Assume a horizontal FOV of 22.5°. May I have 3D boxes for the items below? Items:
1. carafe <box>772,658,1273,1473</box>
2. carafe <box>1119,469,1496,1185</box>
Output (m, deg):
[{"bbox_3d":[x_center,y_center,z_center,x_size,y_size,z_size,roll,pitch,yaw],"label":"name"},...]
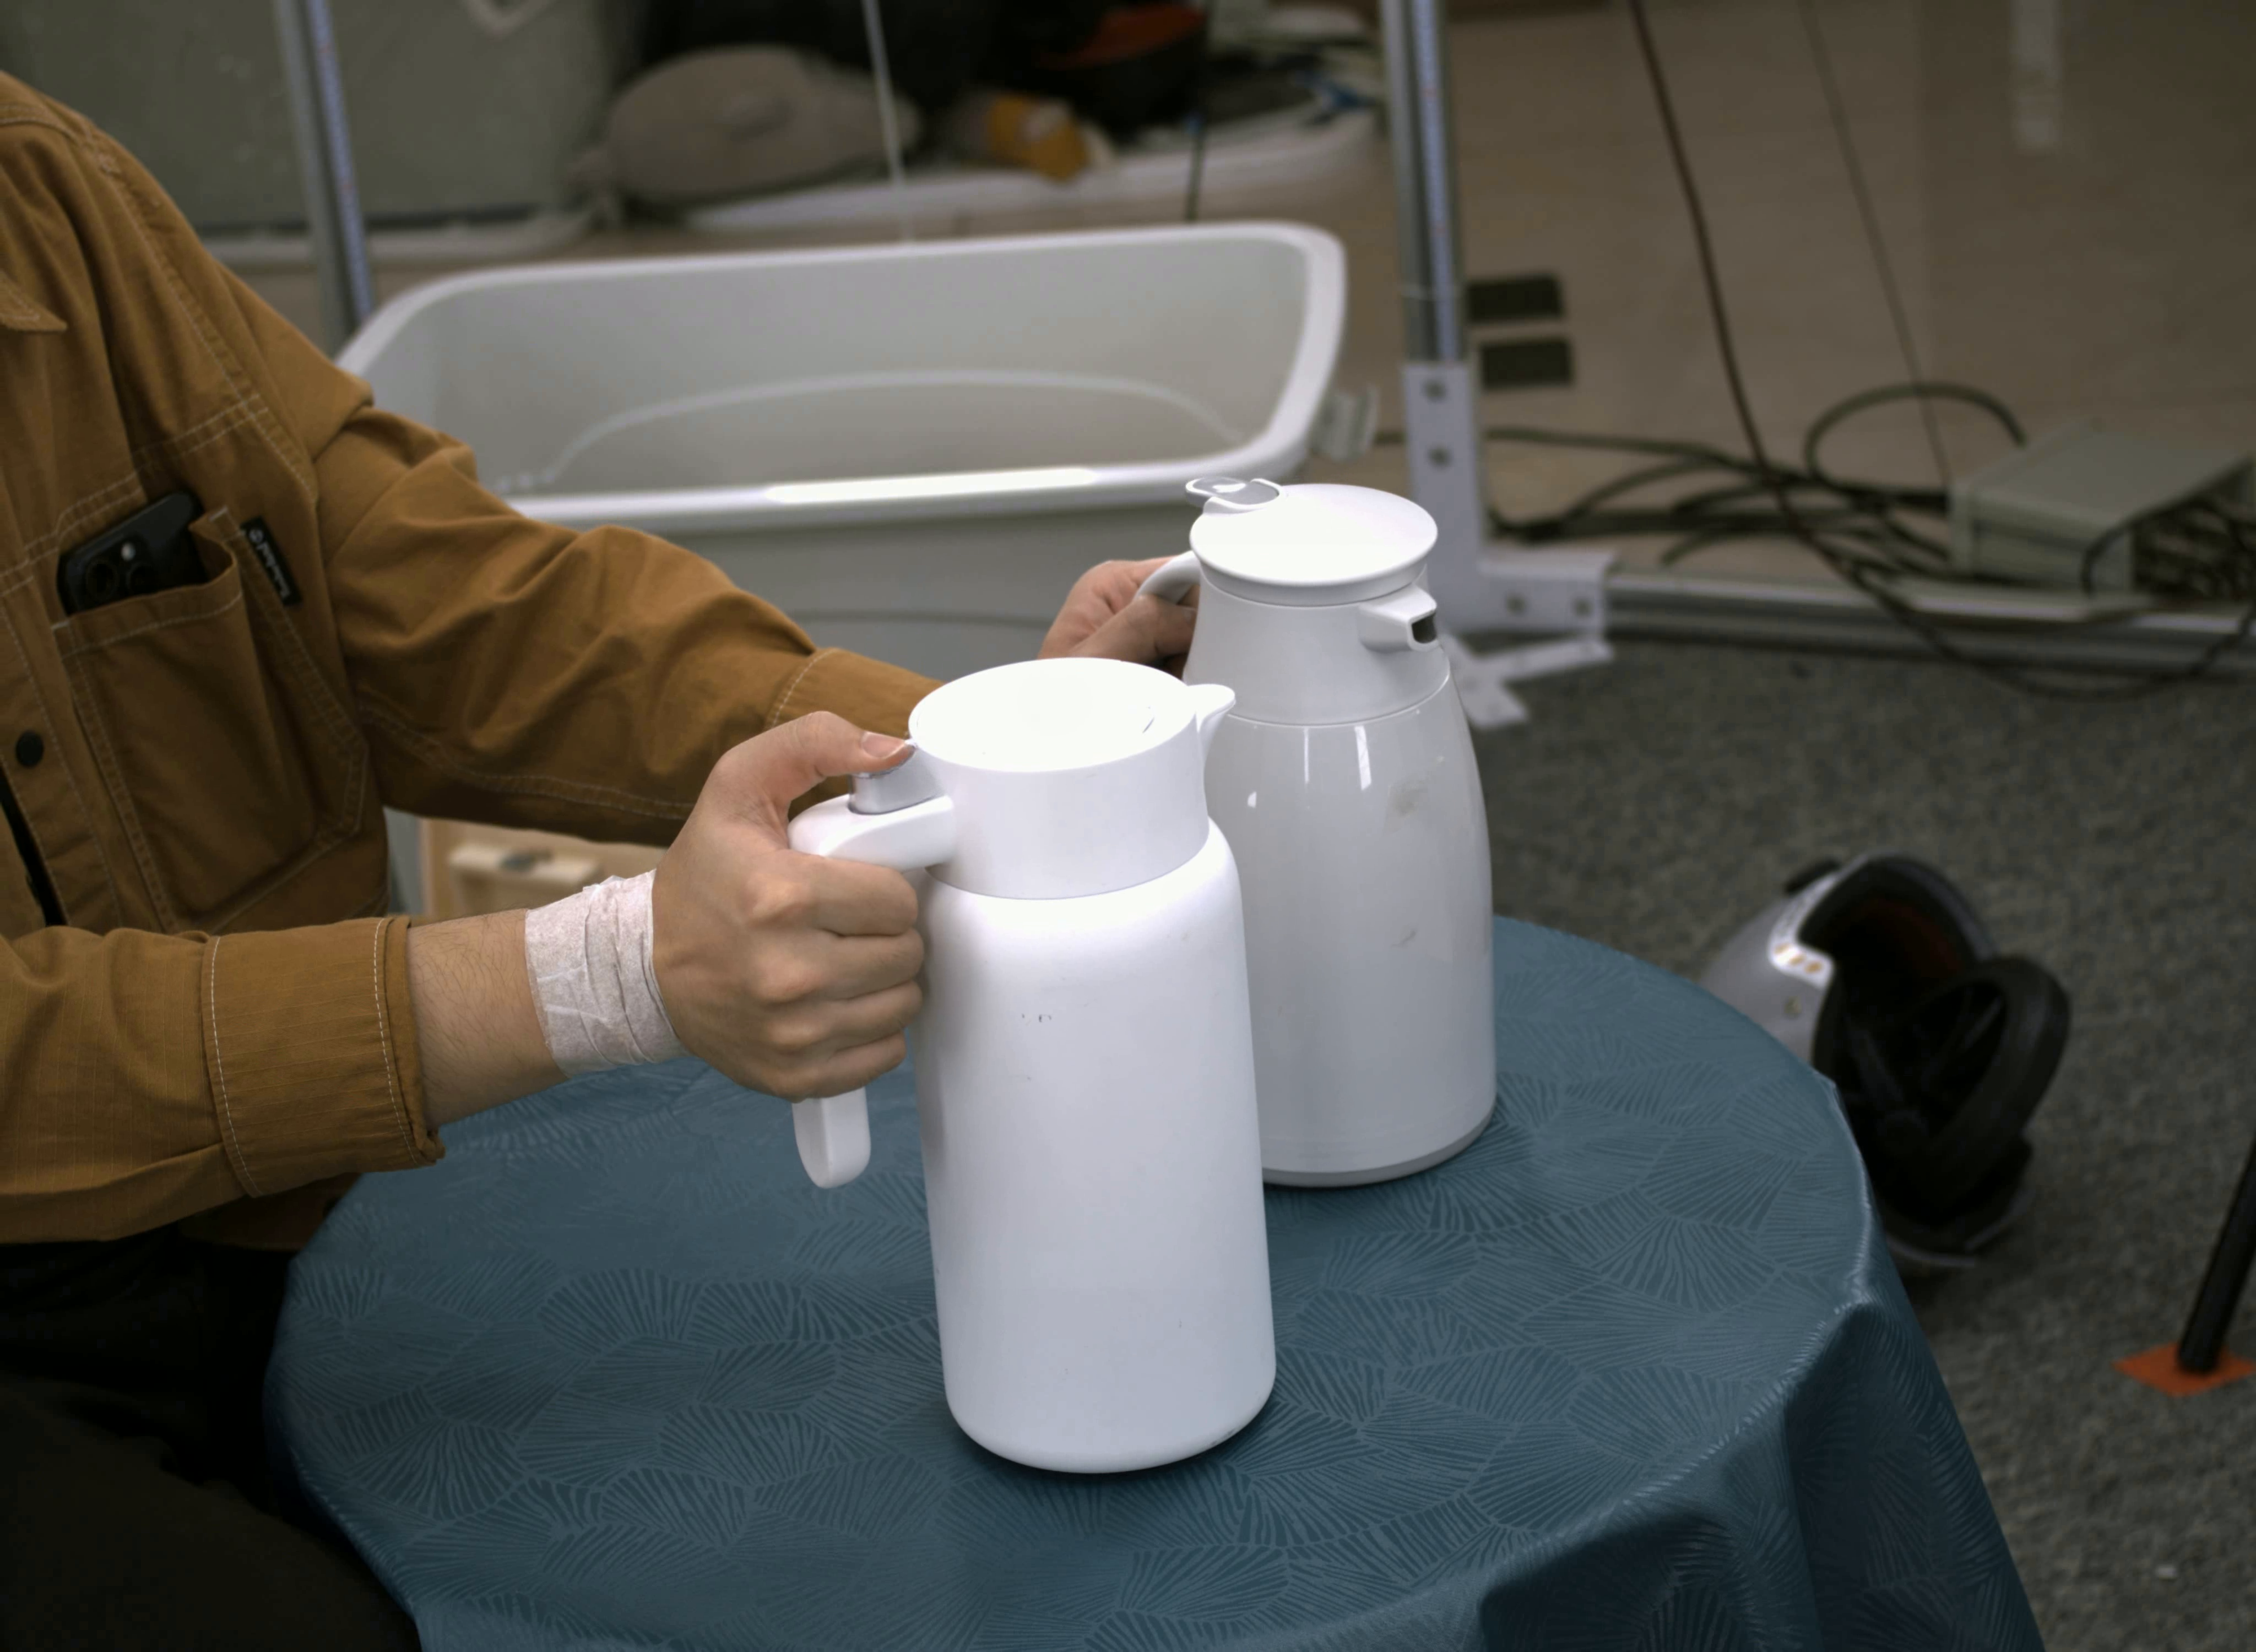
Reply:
[{"bbox_3d":[-0.030,0.087,1.943,0.172,0.273,0.122,-16,29,-24],"label":"carafe"},{"bbox_3d":[0.059,-0.010,2.142,0.131,0.253,0.166,-24,33,-36],"label":"carafe"}]
